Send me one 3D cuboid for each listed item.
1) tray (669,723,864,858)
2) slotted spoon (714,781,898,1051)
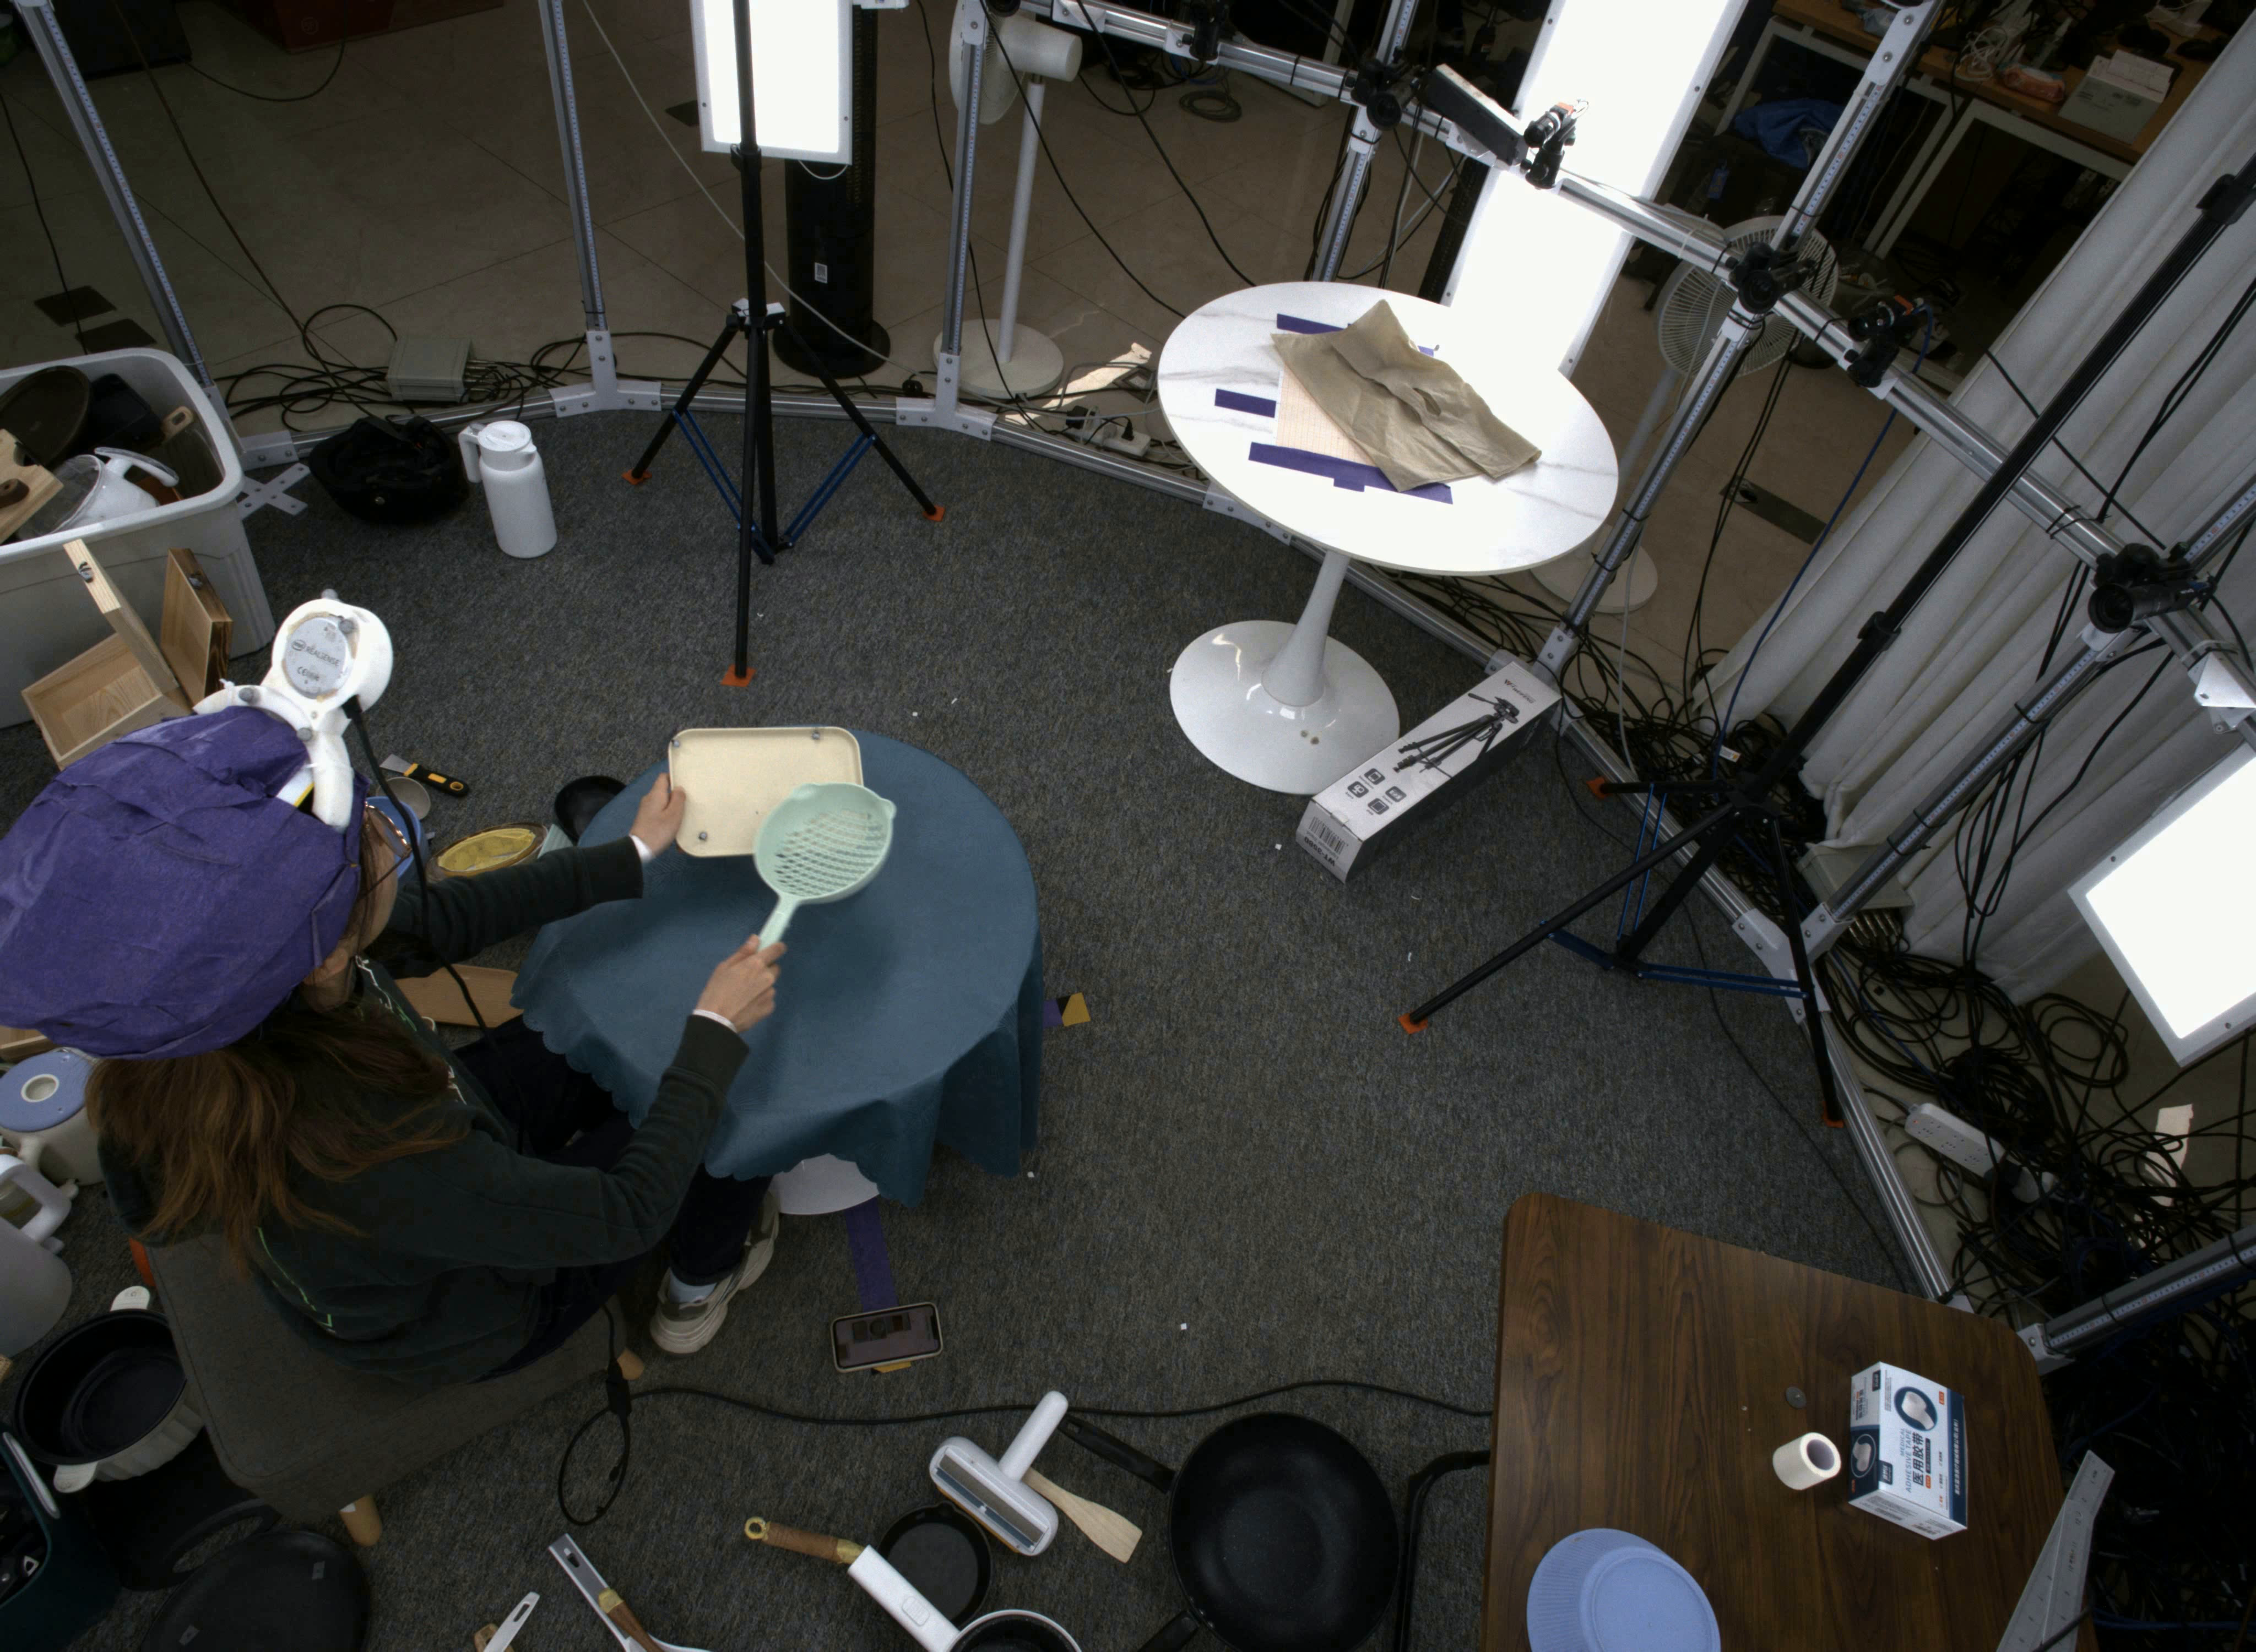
[{"bbox_3d":[-0.453,-0.046,1.633,0.242,0.017,0.170,-3,74,-24],"label":"tray"},{"bbox_3d":[-0.392,0.095,1.509,0.164,0.078,0.356,12,49,19],"label":"slotted spoon"}]
